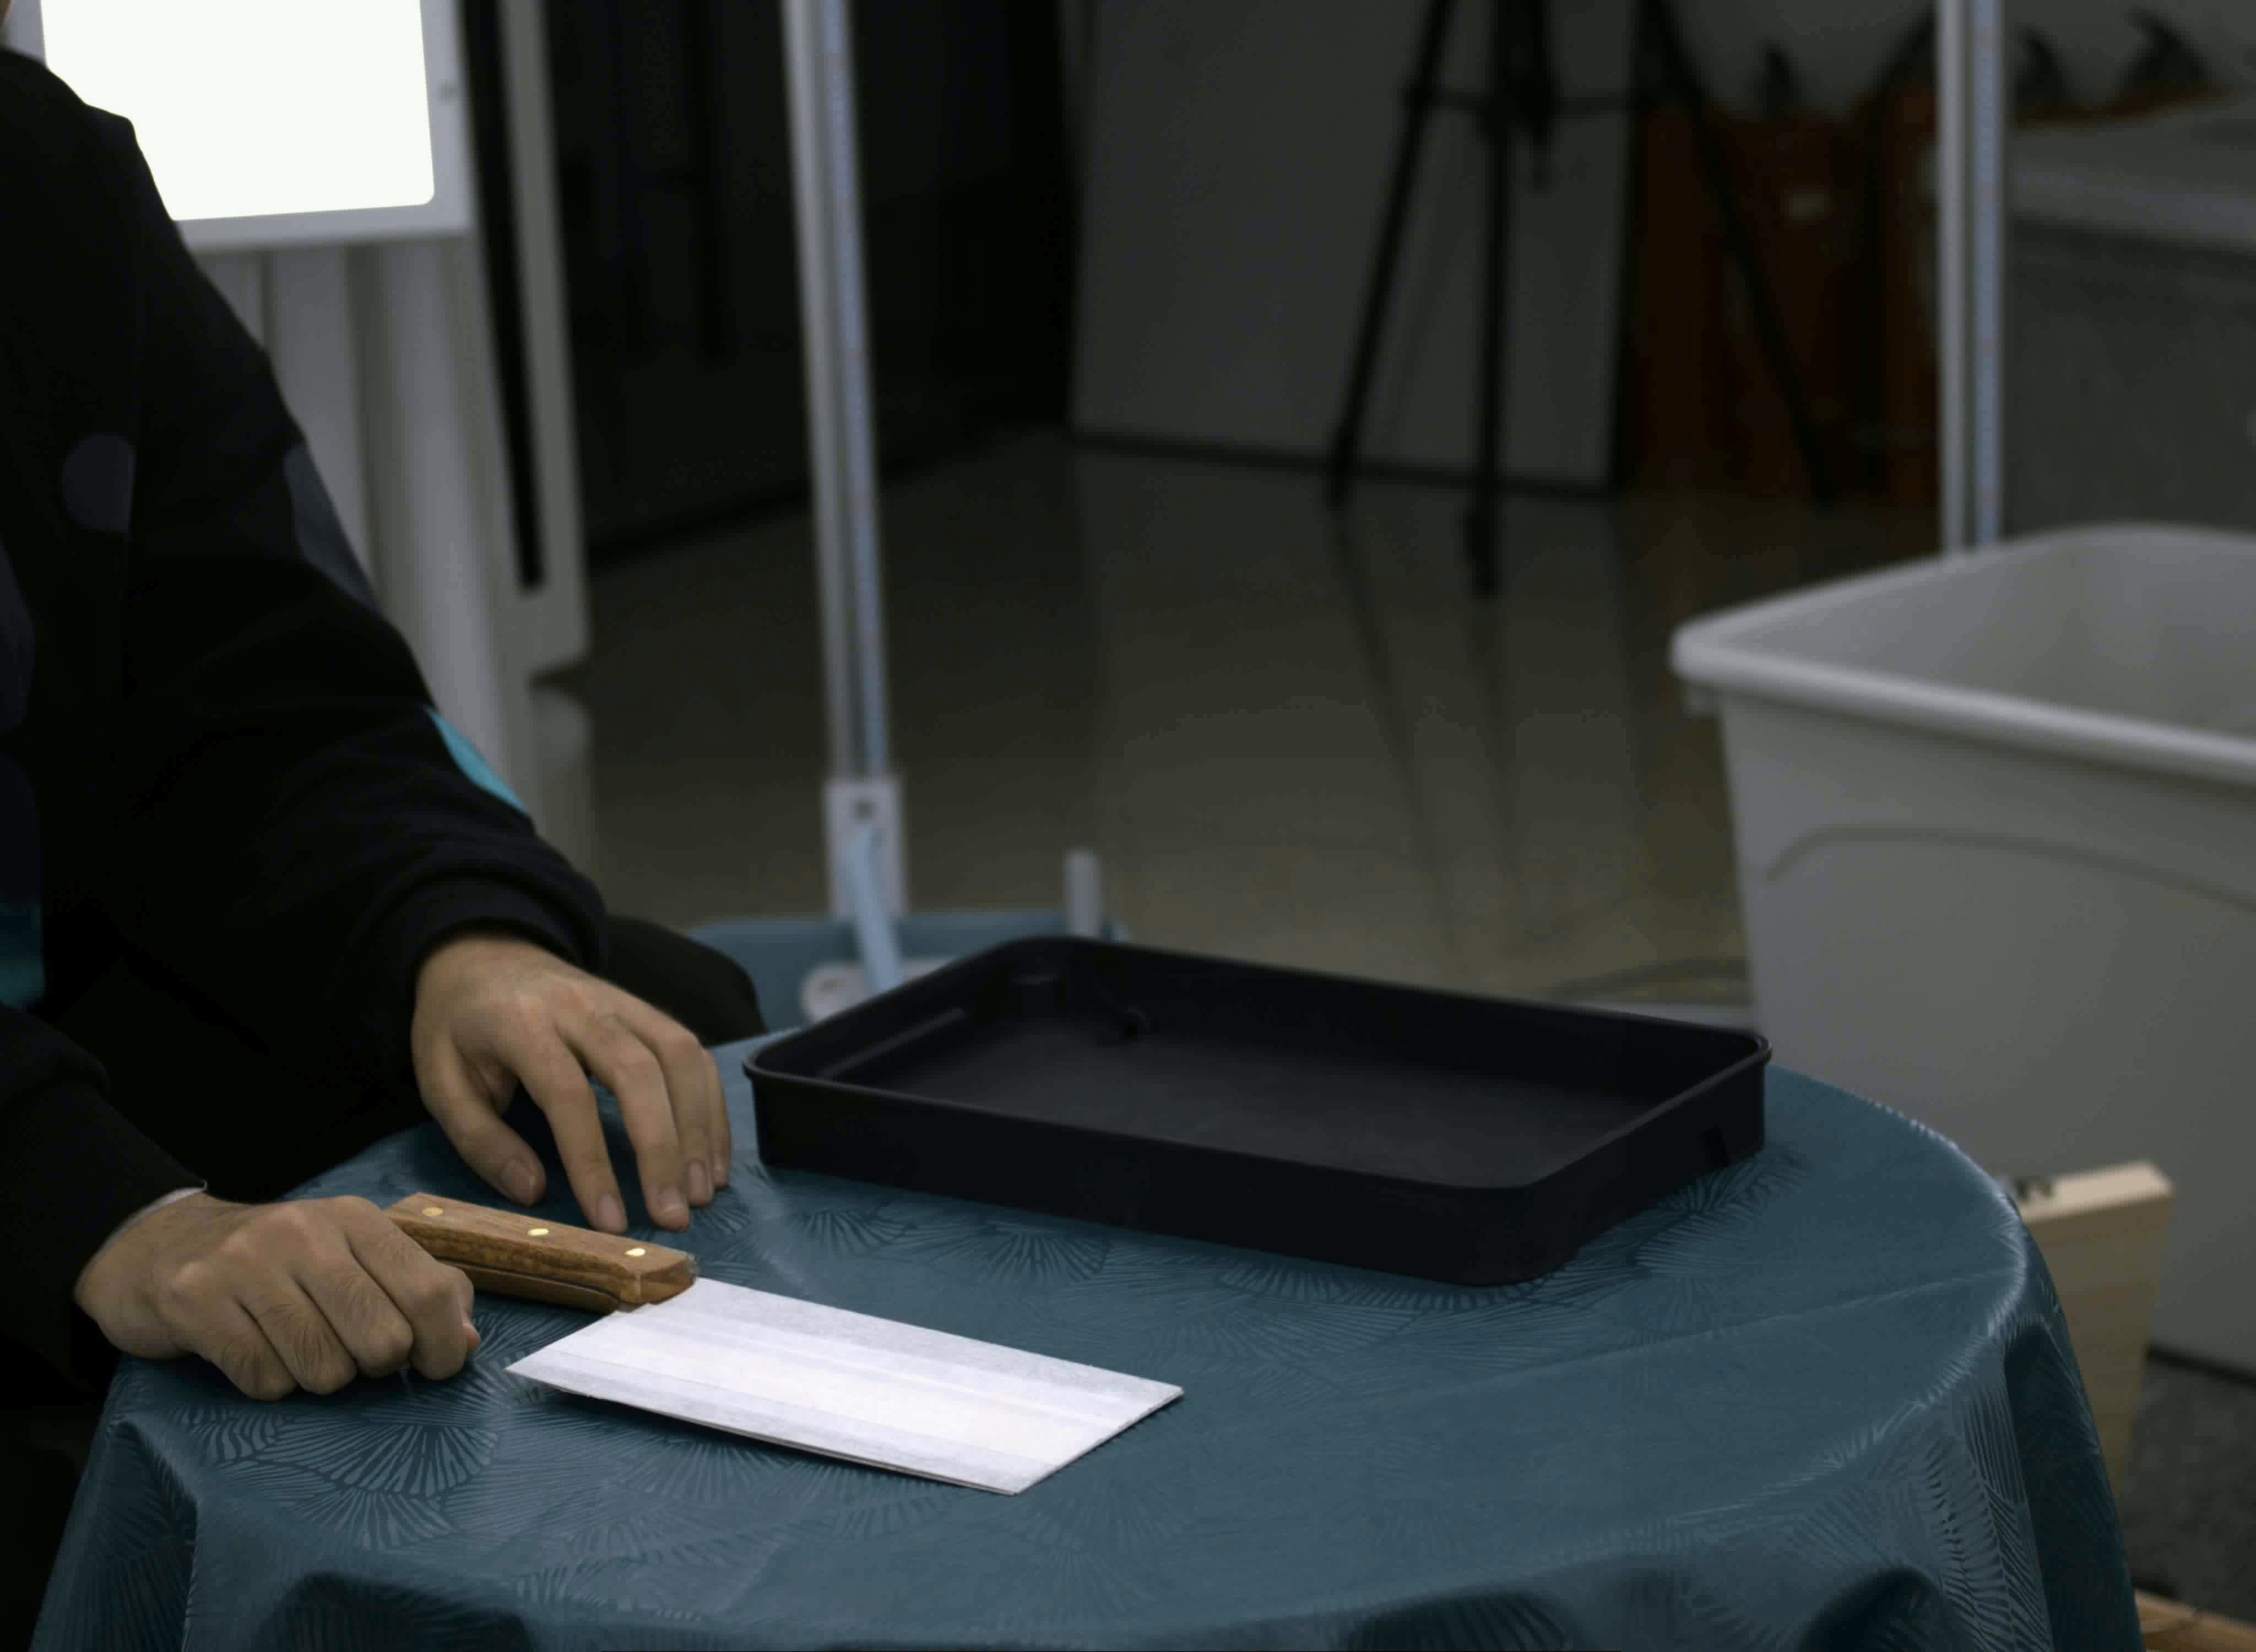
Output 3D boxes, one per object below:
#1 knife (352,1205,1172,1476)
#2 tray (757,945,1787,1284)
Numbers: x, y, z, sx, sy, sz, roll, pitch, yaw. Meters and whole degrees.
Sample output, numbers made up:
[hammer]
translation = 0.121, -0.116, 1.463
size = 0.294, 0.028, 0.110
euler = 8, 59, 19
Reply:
[knife]
translation = -0.130, 0.157, 1.631
size = 0.307, 0.021, 0.091
euler = 8, 20, 35
[tray]
translation = 0.047, 0.092, 1.798
size = 0.320, 0.037, 0.181
euler = 5, 17, 35
